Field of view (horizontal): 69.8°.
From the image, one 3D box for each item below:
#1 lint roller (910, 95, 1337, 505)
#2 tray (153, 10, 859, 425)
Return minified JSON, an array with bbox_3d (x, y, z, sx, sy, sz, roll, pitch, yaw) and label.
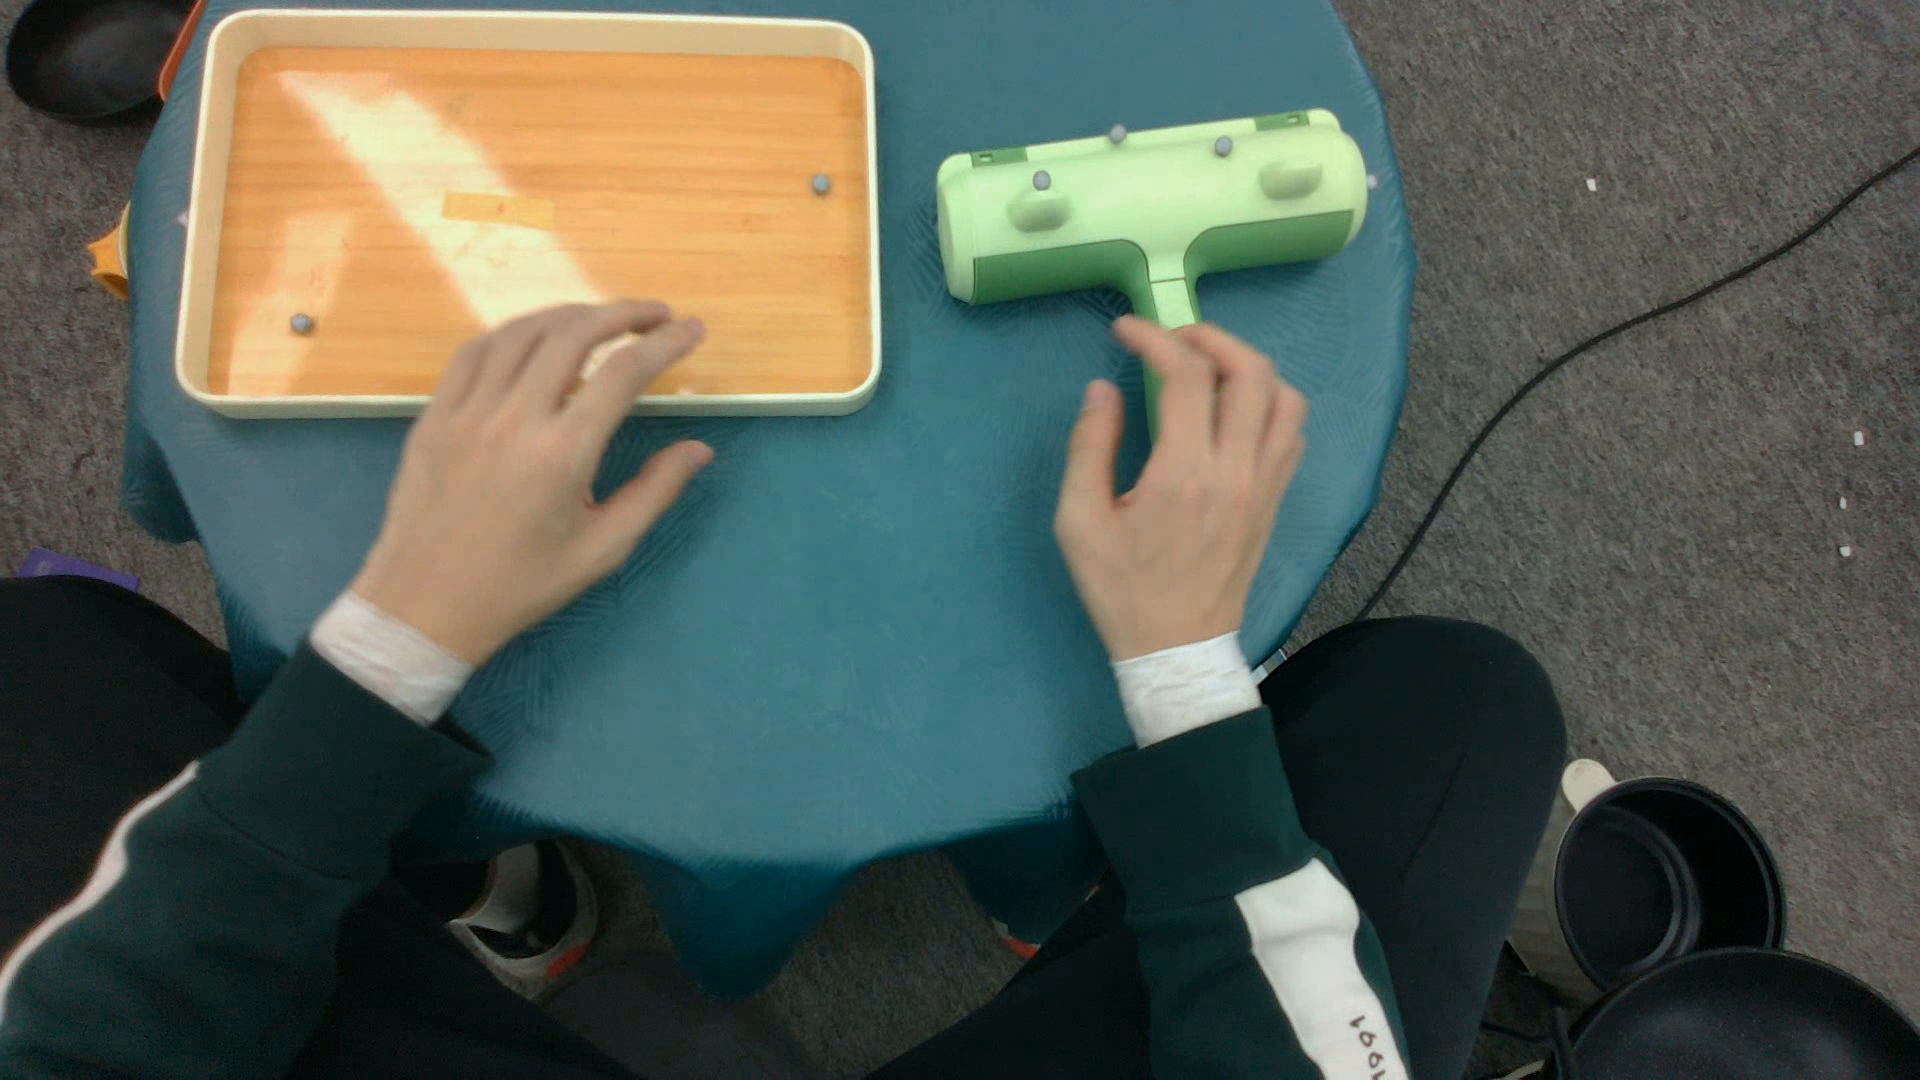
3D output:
[{"bbox_3d":[0.088,-0.112,0.624,0.199,0.082,0.183,-10,73,-8],"label":"lint roller"},{"bbox_3d":[-0.200,-0.150,0.629,0.300,0.027,0.192,-2,77,-7],"label":"tray"}]
